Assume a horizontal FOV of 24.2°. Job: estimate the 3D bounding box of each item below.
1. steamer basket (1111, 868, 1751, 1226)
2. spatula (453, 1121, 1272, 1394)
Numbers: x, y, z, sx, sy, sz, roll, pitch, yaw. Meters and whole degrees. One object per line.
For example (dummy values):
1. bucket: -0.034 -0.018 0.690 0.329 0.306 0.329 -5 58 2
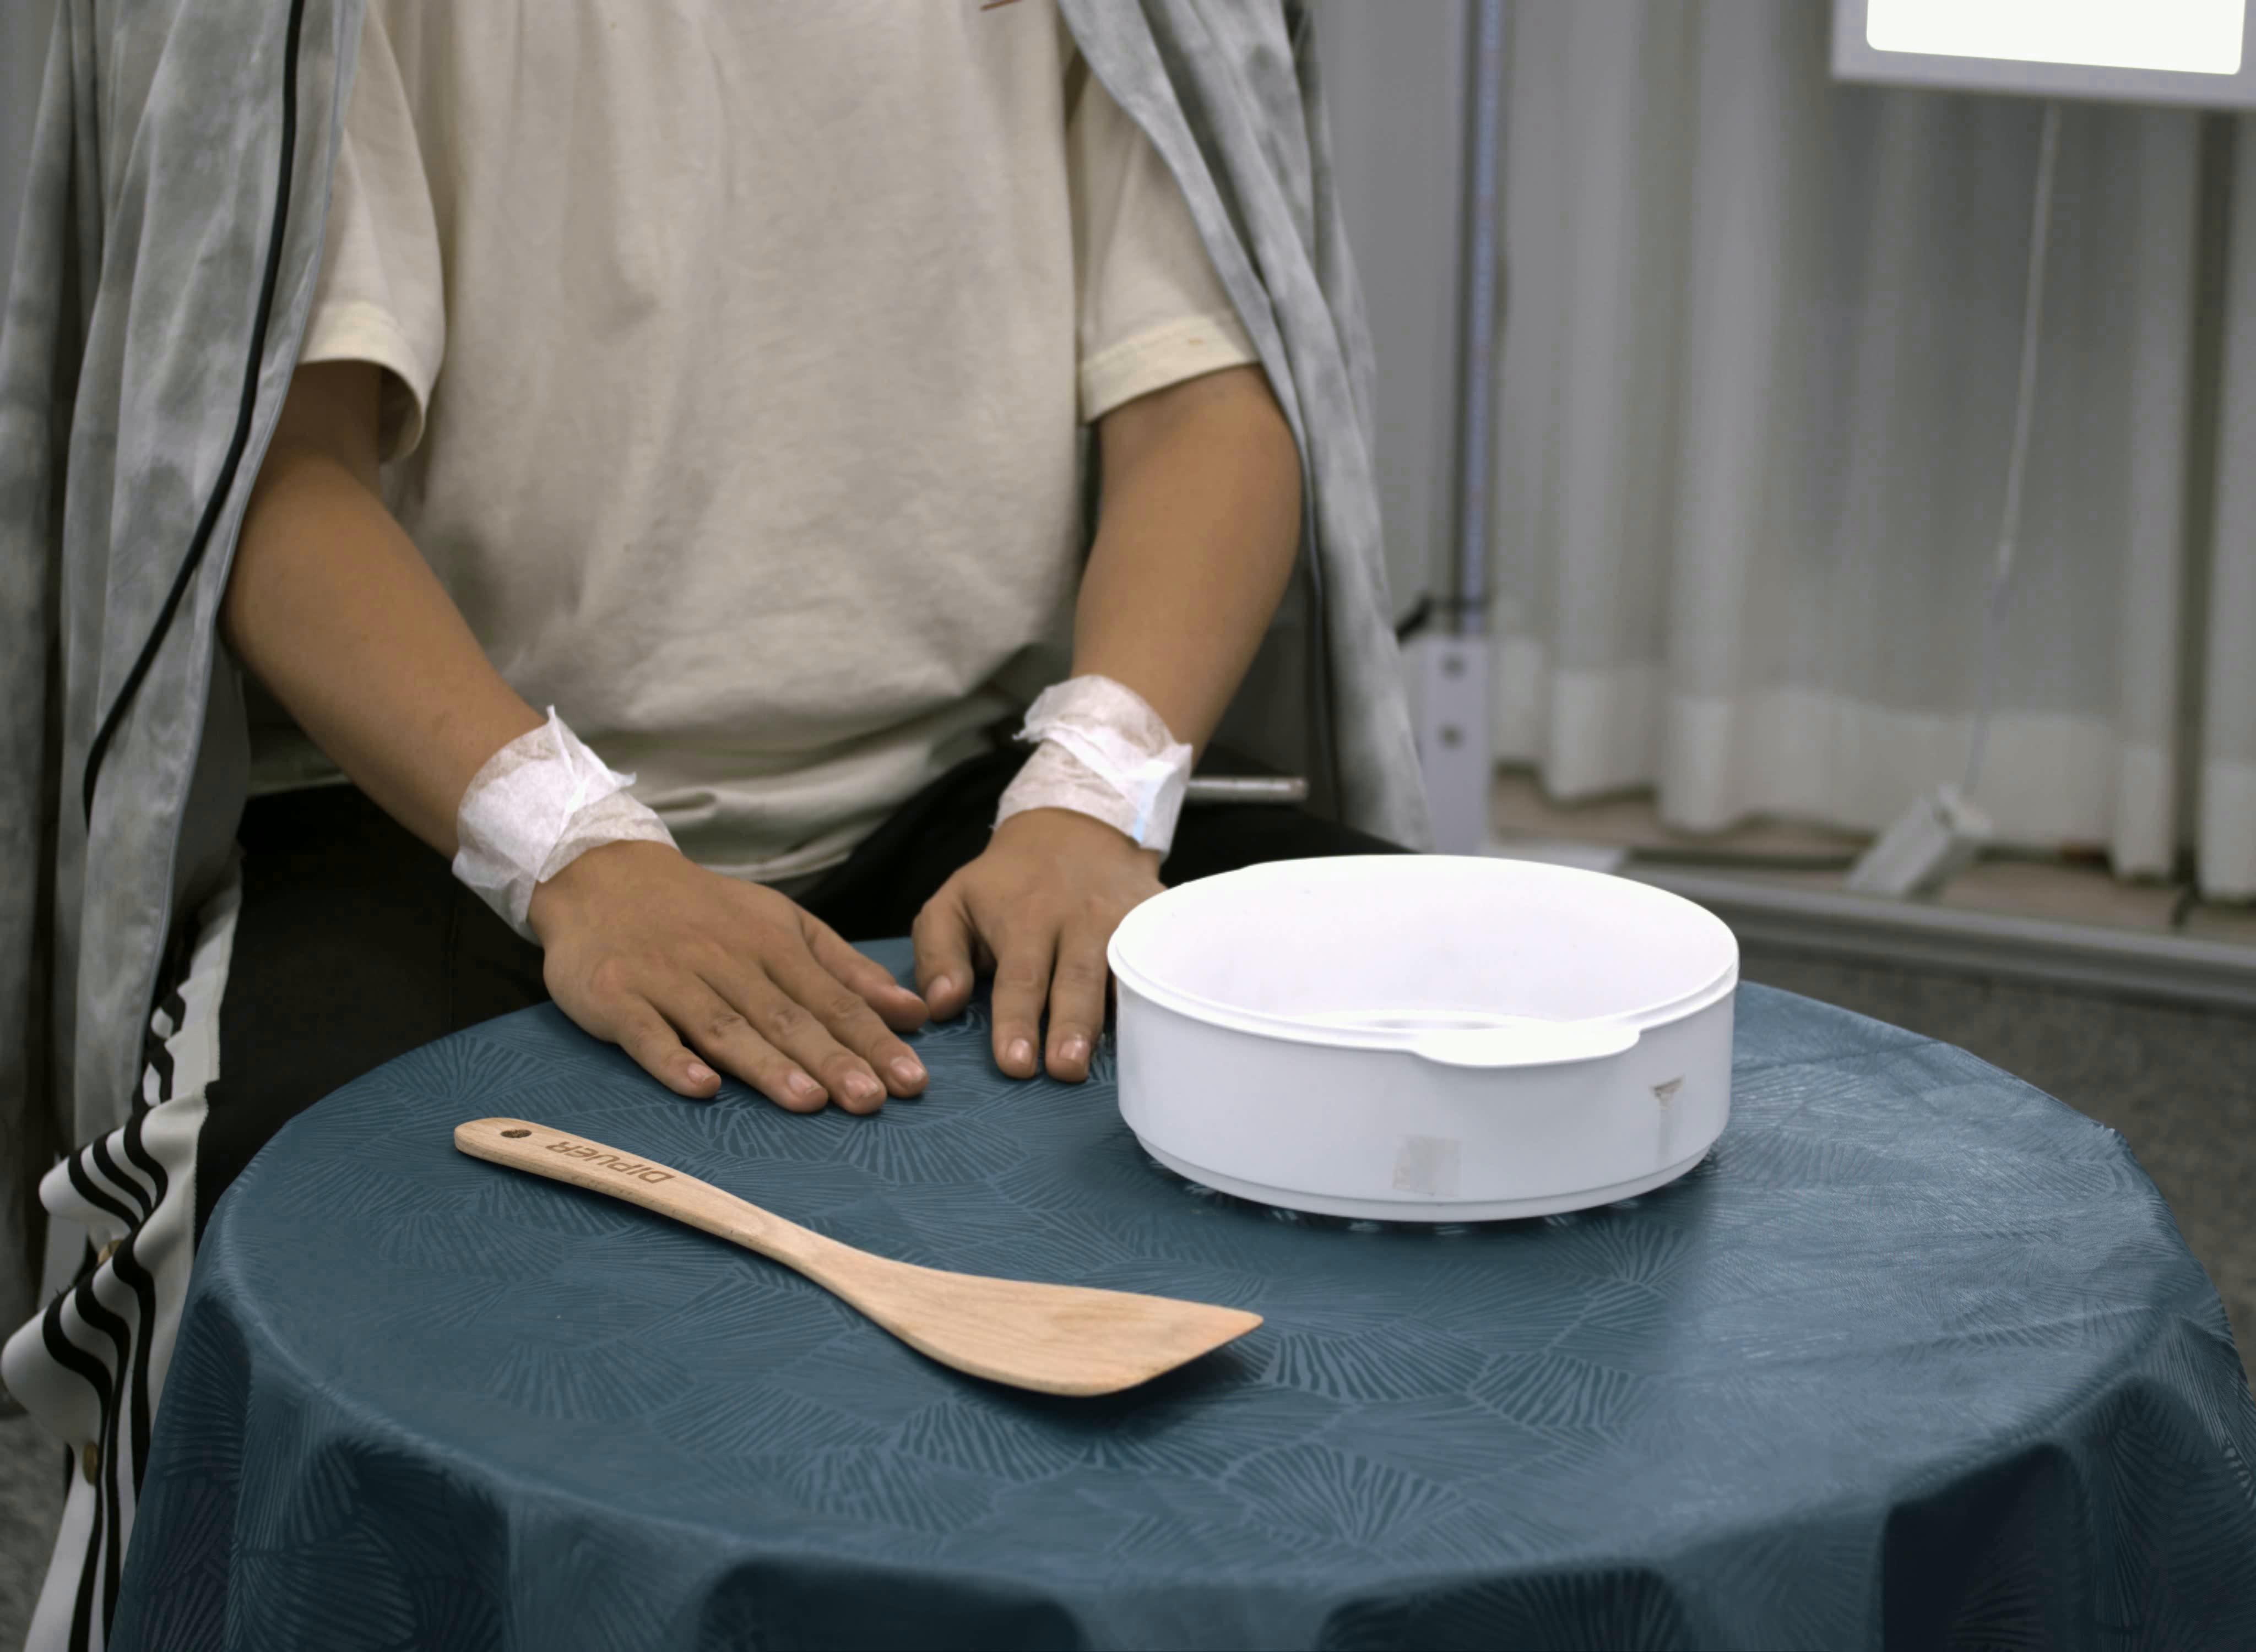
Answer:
1. steamer basket: 0.095 0.069 1.663 0.202 0.070 0.228 -2 15 -15
2. spatula: -0.091 0.122 1.554 0.323 0.016 0.080 15 20 42
